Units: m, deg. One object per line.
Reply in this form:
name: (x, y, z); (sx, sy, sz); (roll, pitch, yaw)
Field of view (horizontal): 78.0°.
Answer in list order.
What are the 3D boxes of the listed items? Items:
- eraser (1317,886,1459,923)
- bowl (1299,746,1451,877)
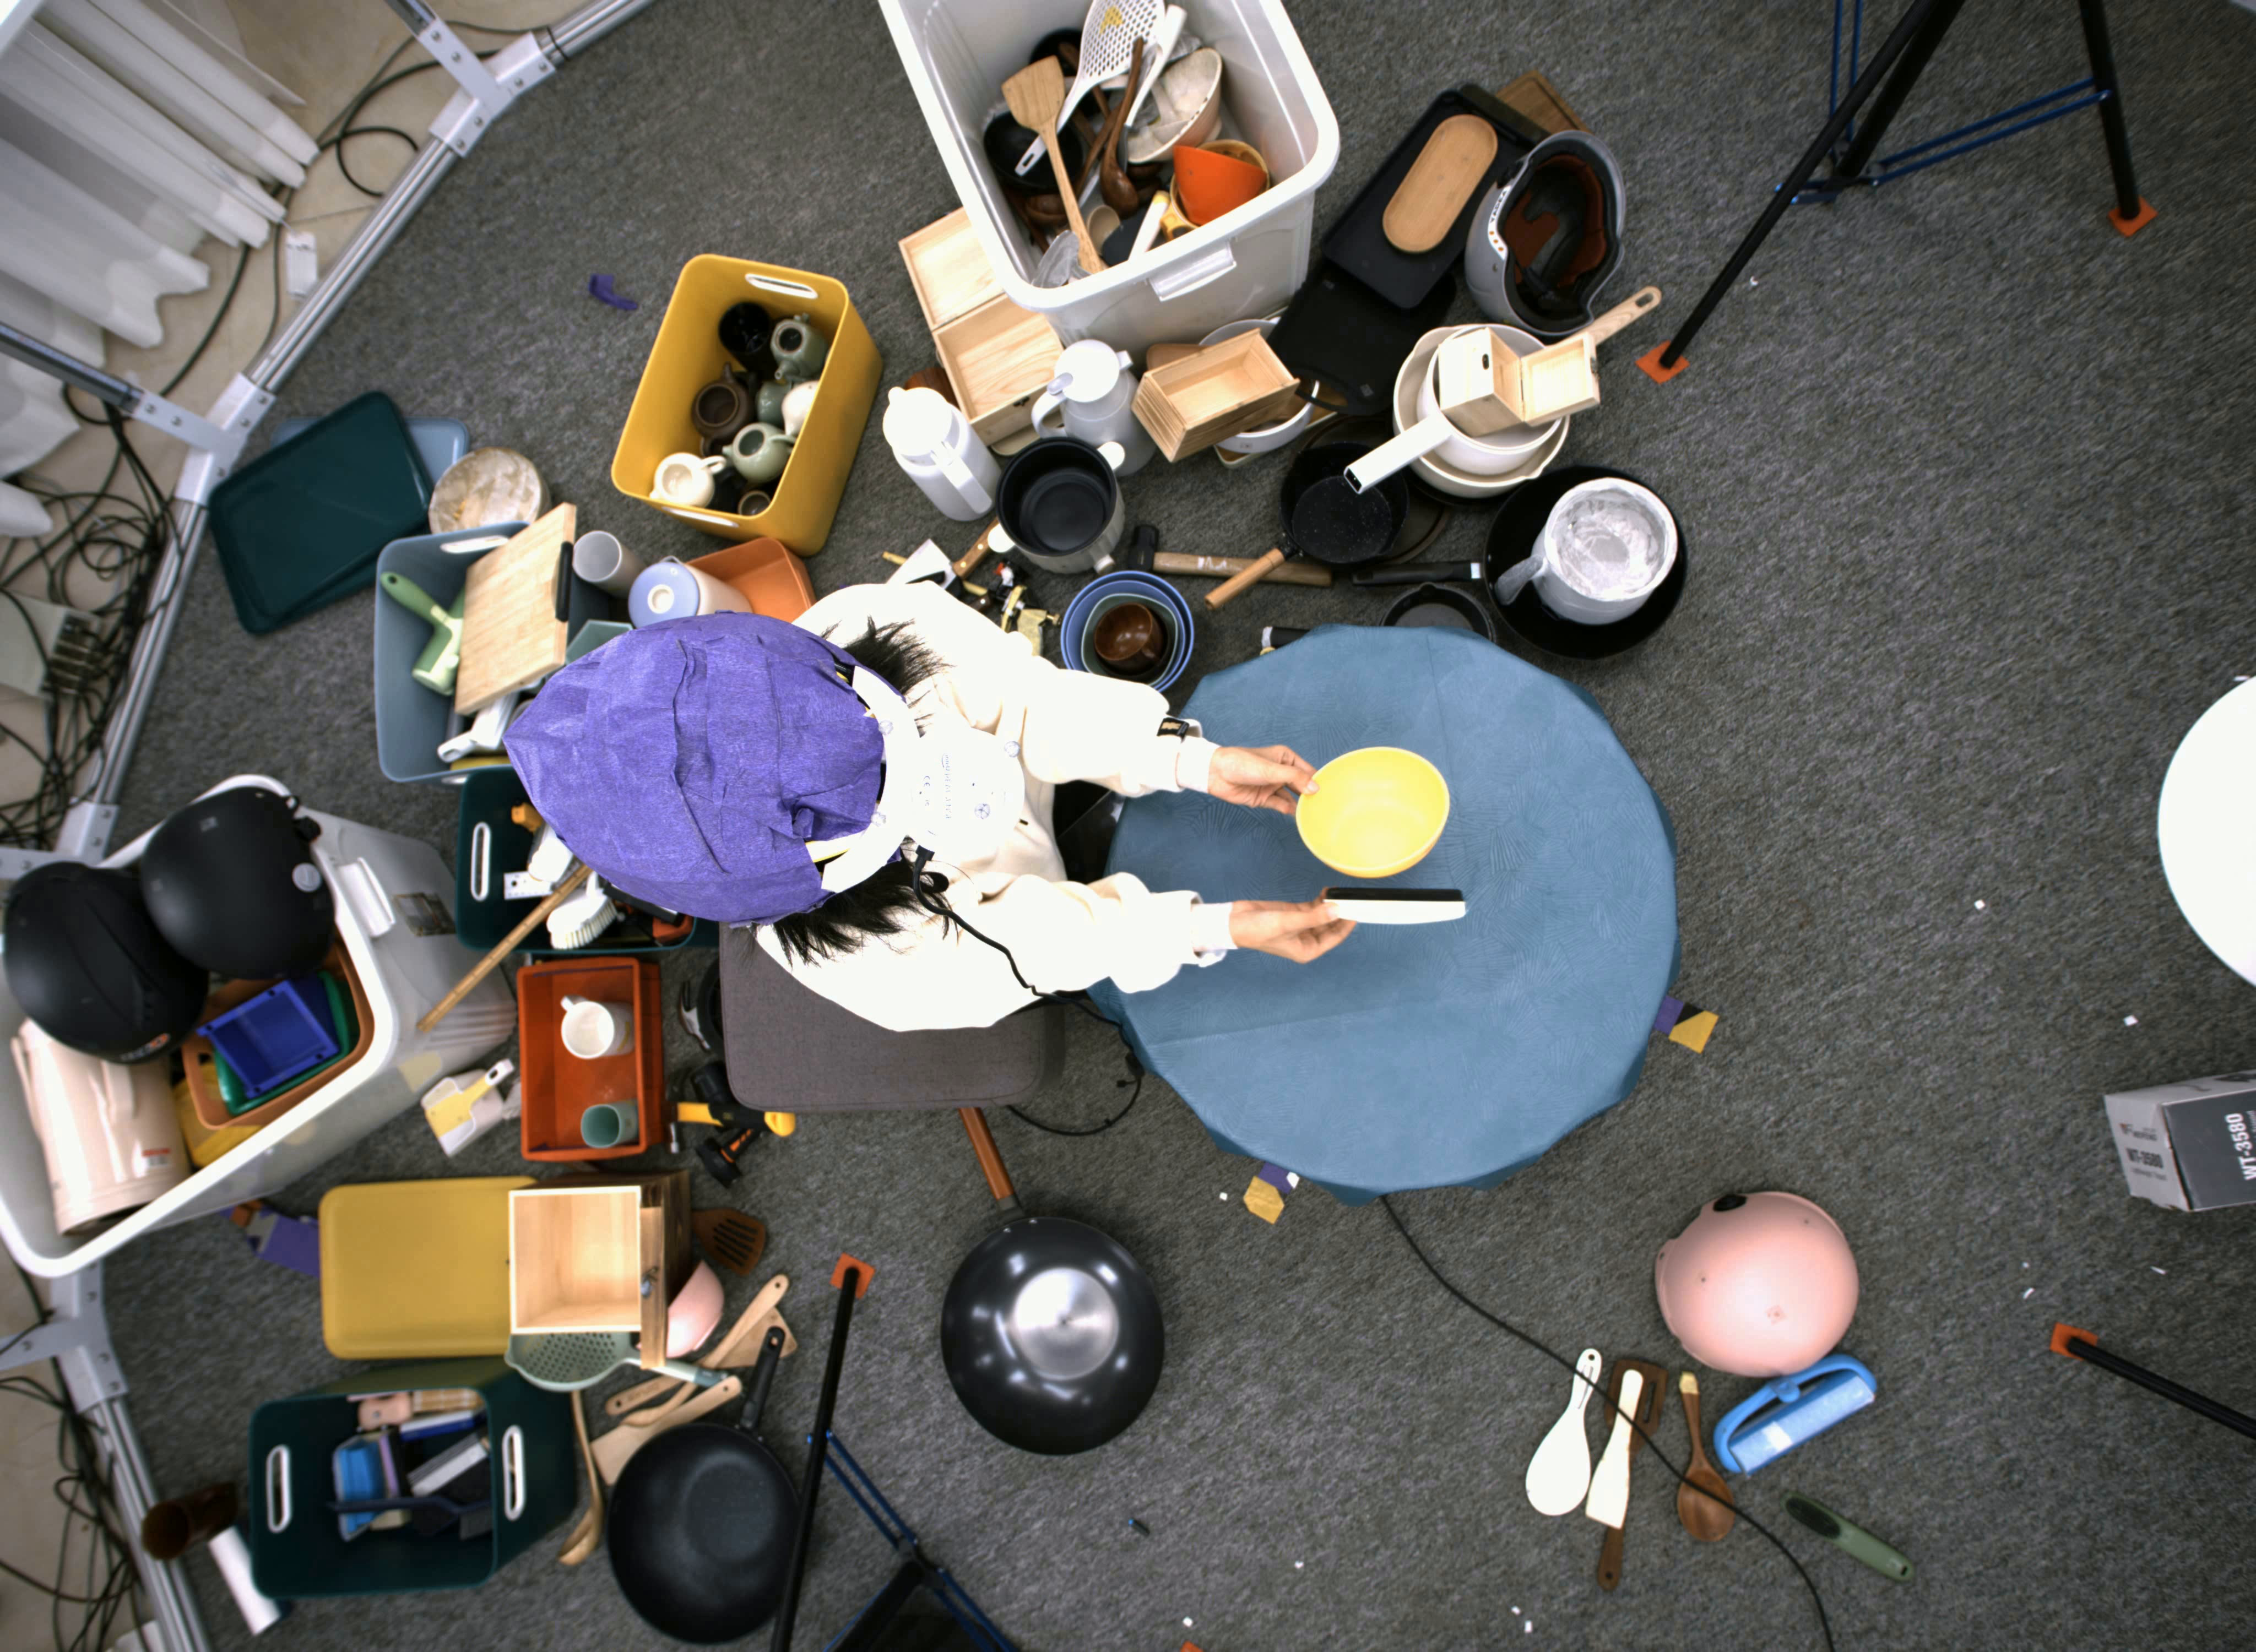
eraser: (0.246, 0.073, 1.309); (0.132, 0.063, 0.034); (-2, 88, 17)
bowl: (0.240, -0.004, 1.328); (0.146, 0.061, 0.141); (-9, 54, 13)
